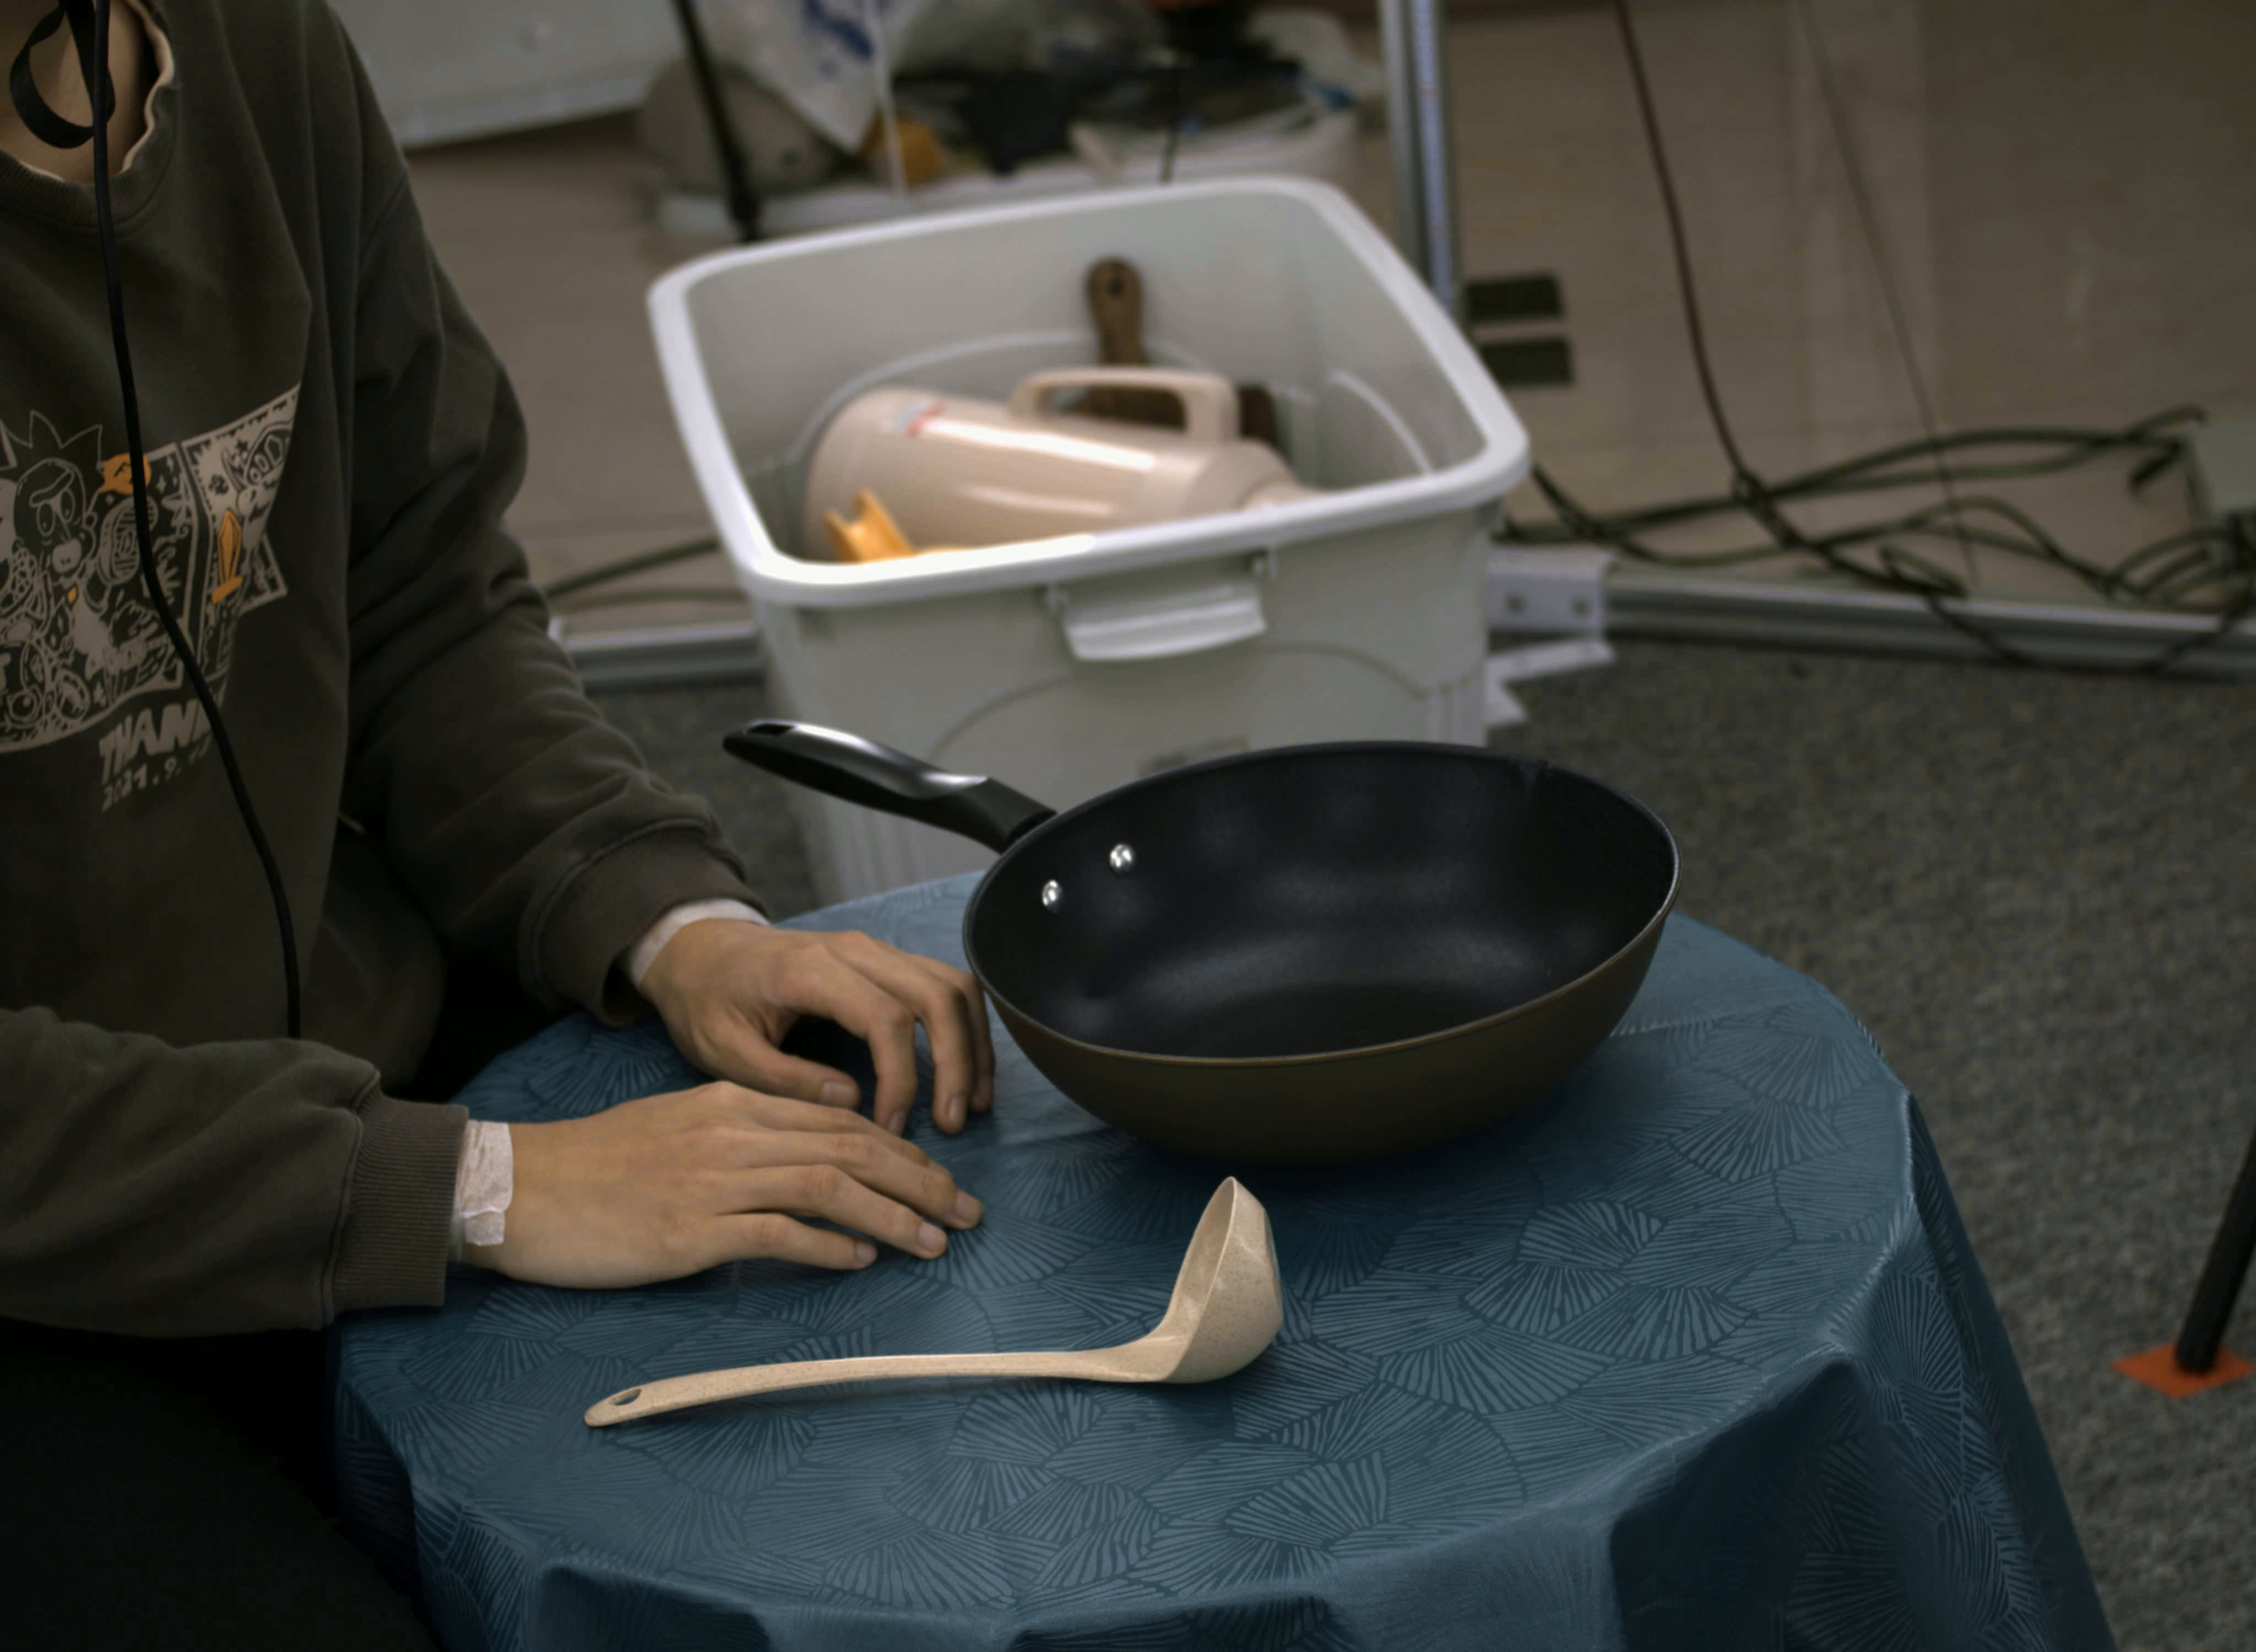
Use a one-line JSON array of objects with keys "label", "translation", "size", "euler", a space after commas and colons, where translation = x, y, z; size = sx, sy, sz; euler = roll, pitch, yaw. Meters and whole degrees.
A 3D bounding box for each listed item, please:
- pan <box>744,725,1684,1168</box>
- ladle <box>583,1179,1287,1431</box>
[{"label": "pan", "translation": [0.011, 0.041, 2.254], "size": [0.460, 0.088, 0.285], "euler": [15, 33, 41]}, {"label": "ladle", "translation": [-0.071, 0.171, 2.009], "size": [0.254, 0.074, 0.071], "euler": [-5, 32, 1]}]
